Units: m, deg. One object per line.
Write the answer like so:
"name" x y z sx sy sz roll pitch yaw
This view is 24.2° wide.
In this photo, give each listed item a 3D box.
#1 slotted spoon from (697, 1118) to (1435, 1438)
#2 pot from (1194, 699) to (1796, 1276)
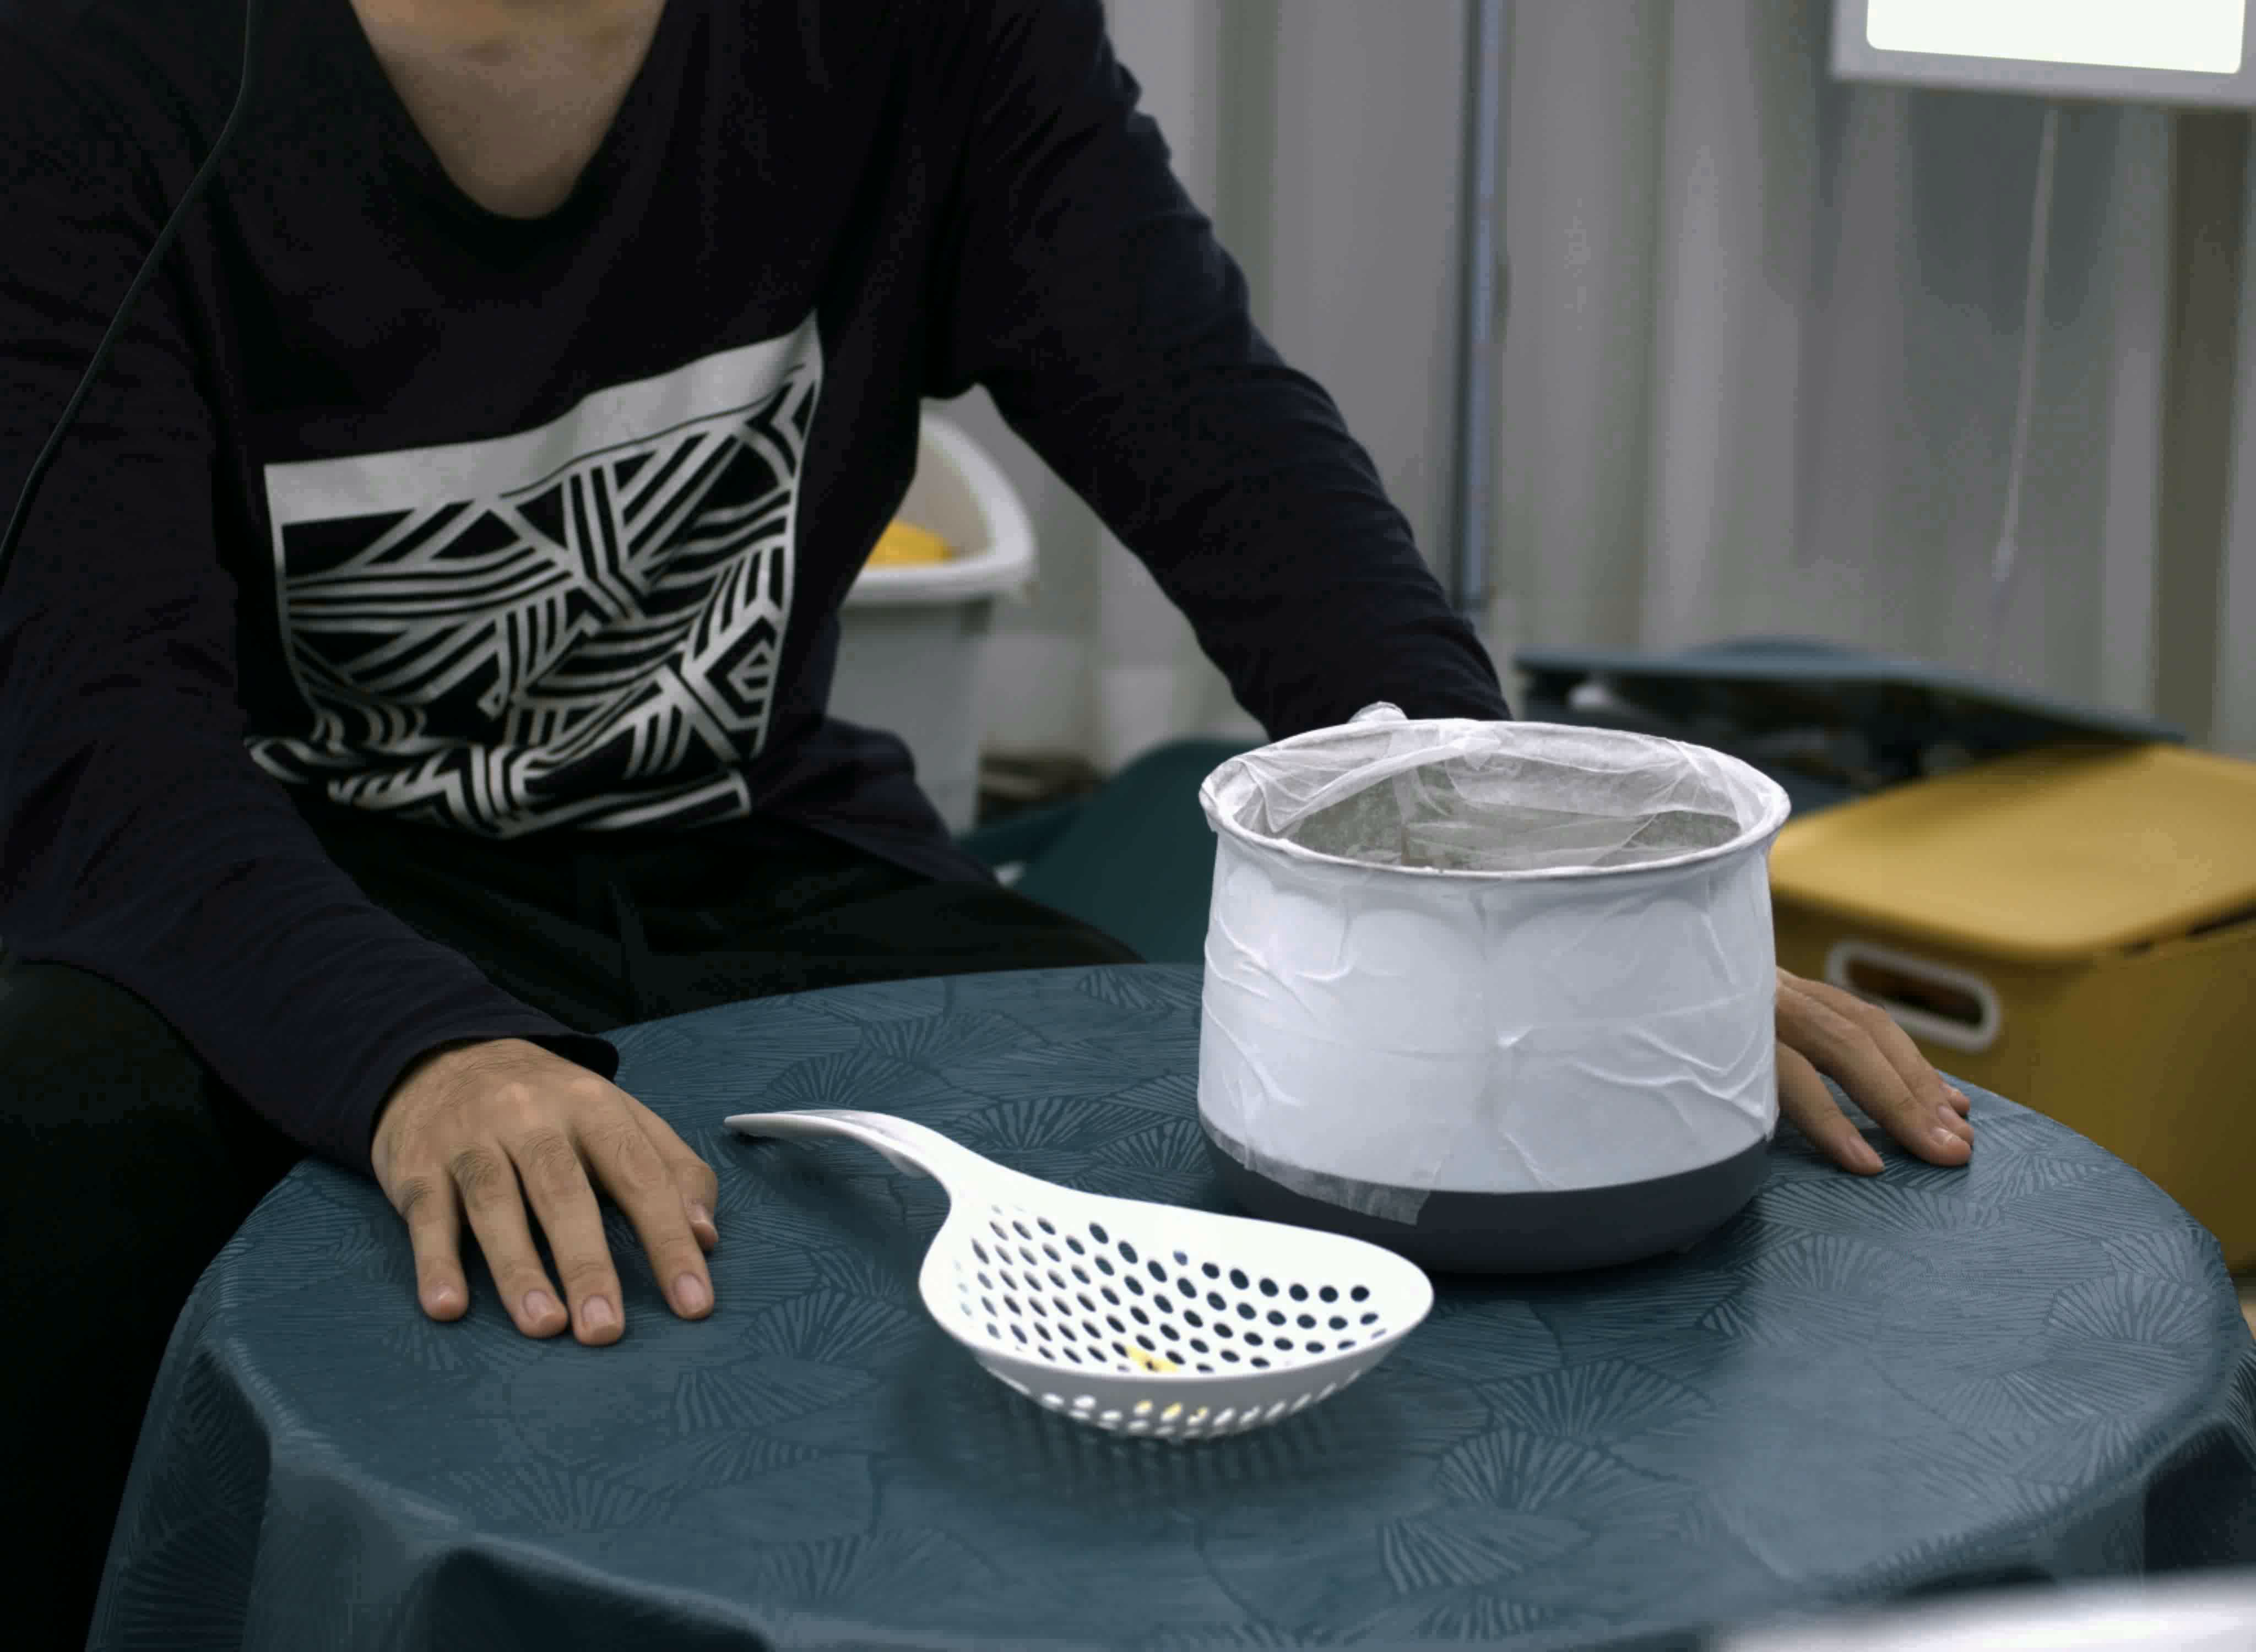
"slotted spoon" -0.040 0.116 1.525 0.137 0.051 0.343 -9 19 -28
"pot" 0.100 0.044 1.618 0.179 0.137 0.231 -3 16 -19
